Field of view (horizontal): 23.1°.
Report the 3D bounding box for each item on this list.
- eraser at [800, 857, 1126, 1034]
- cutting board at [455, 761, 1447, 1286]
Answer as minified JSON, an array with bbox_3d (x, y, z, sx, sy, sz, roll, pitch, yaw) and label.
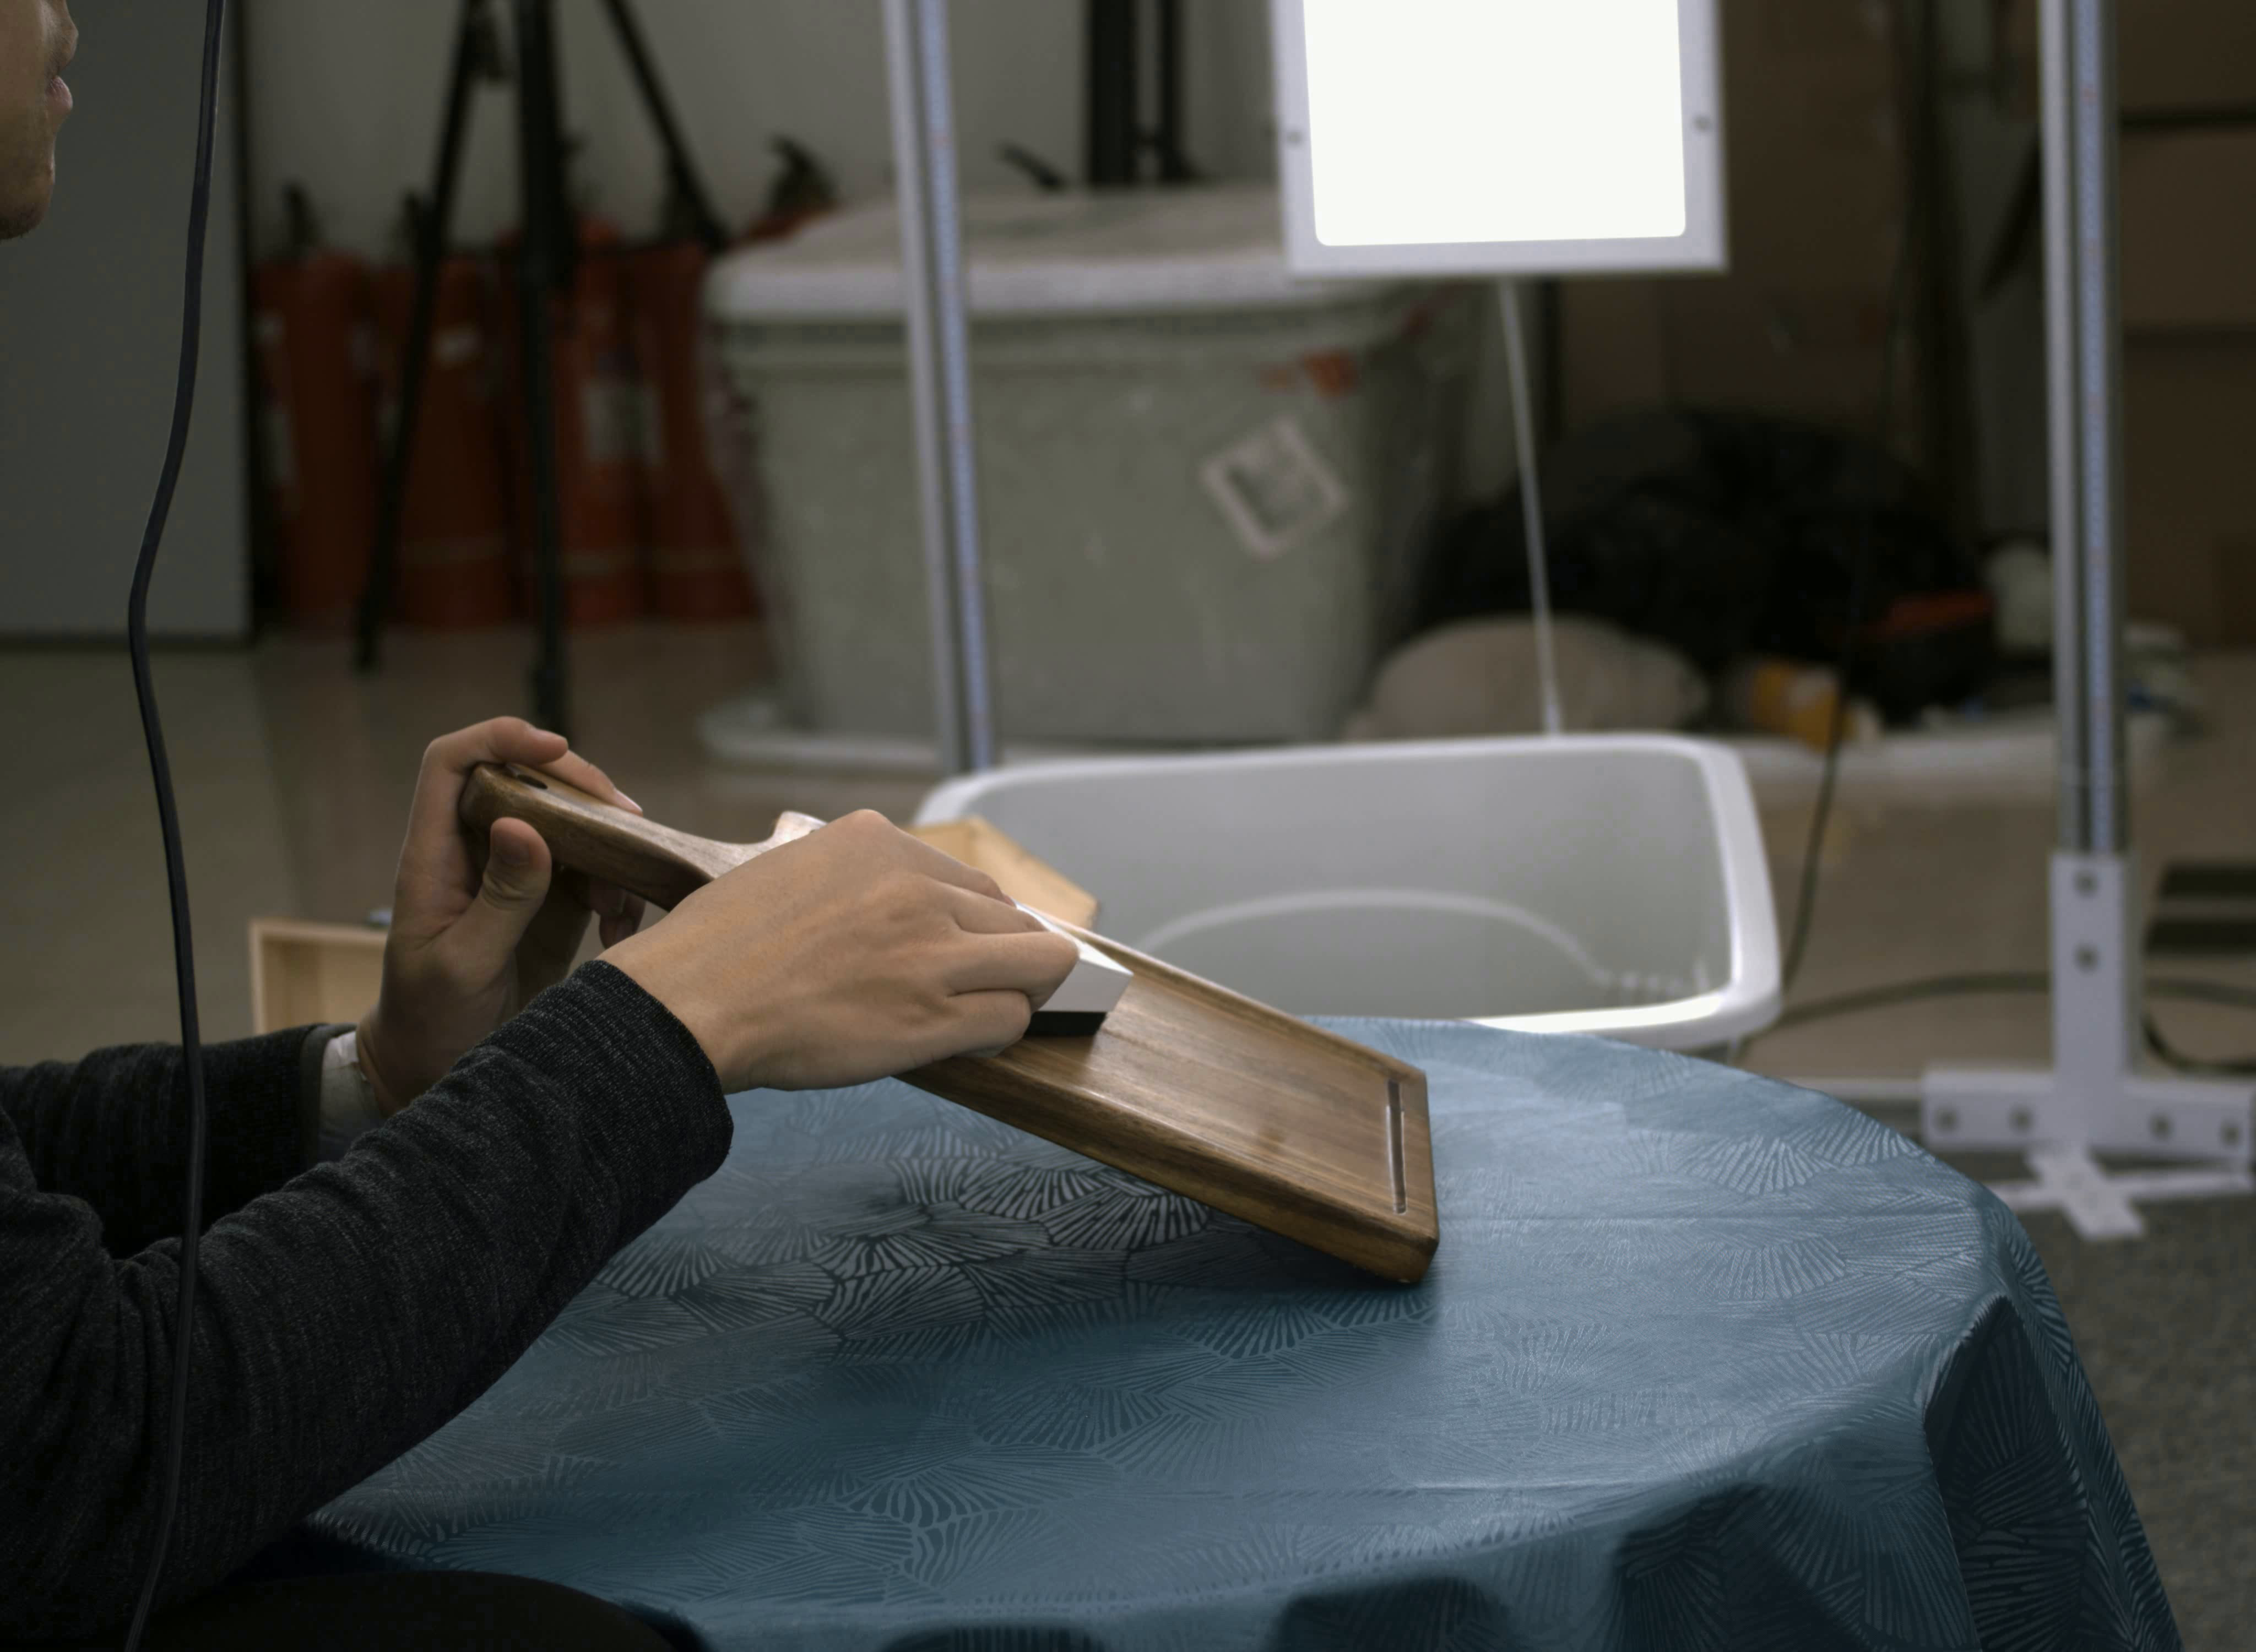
[{"bbox_3d":[-0.054,0.041,1.812,0.064,0.035,0.128,32,12,28],"label":"eraser"},{"bbox_3d":[-0.059,0.053,1.855,0.351,0.023,0.200,22,14,-3],"label":"cutting board"}]
